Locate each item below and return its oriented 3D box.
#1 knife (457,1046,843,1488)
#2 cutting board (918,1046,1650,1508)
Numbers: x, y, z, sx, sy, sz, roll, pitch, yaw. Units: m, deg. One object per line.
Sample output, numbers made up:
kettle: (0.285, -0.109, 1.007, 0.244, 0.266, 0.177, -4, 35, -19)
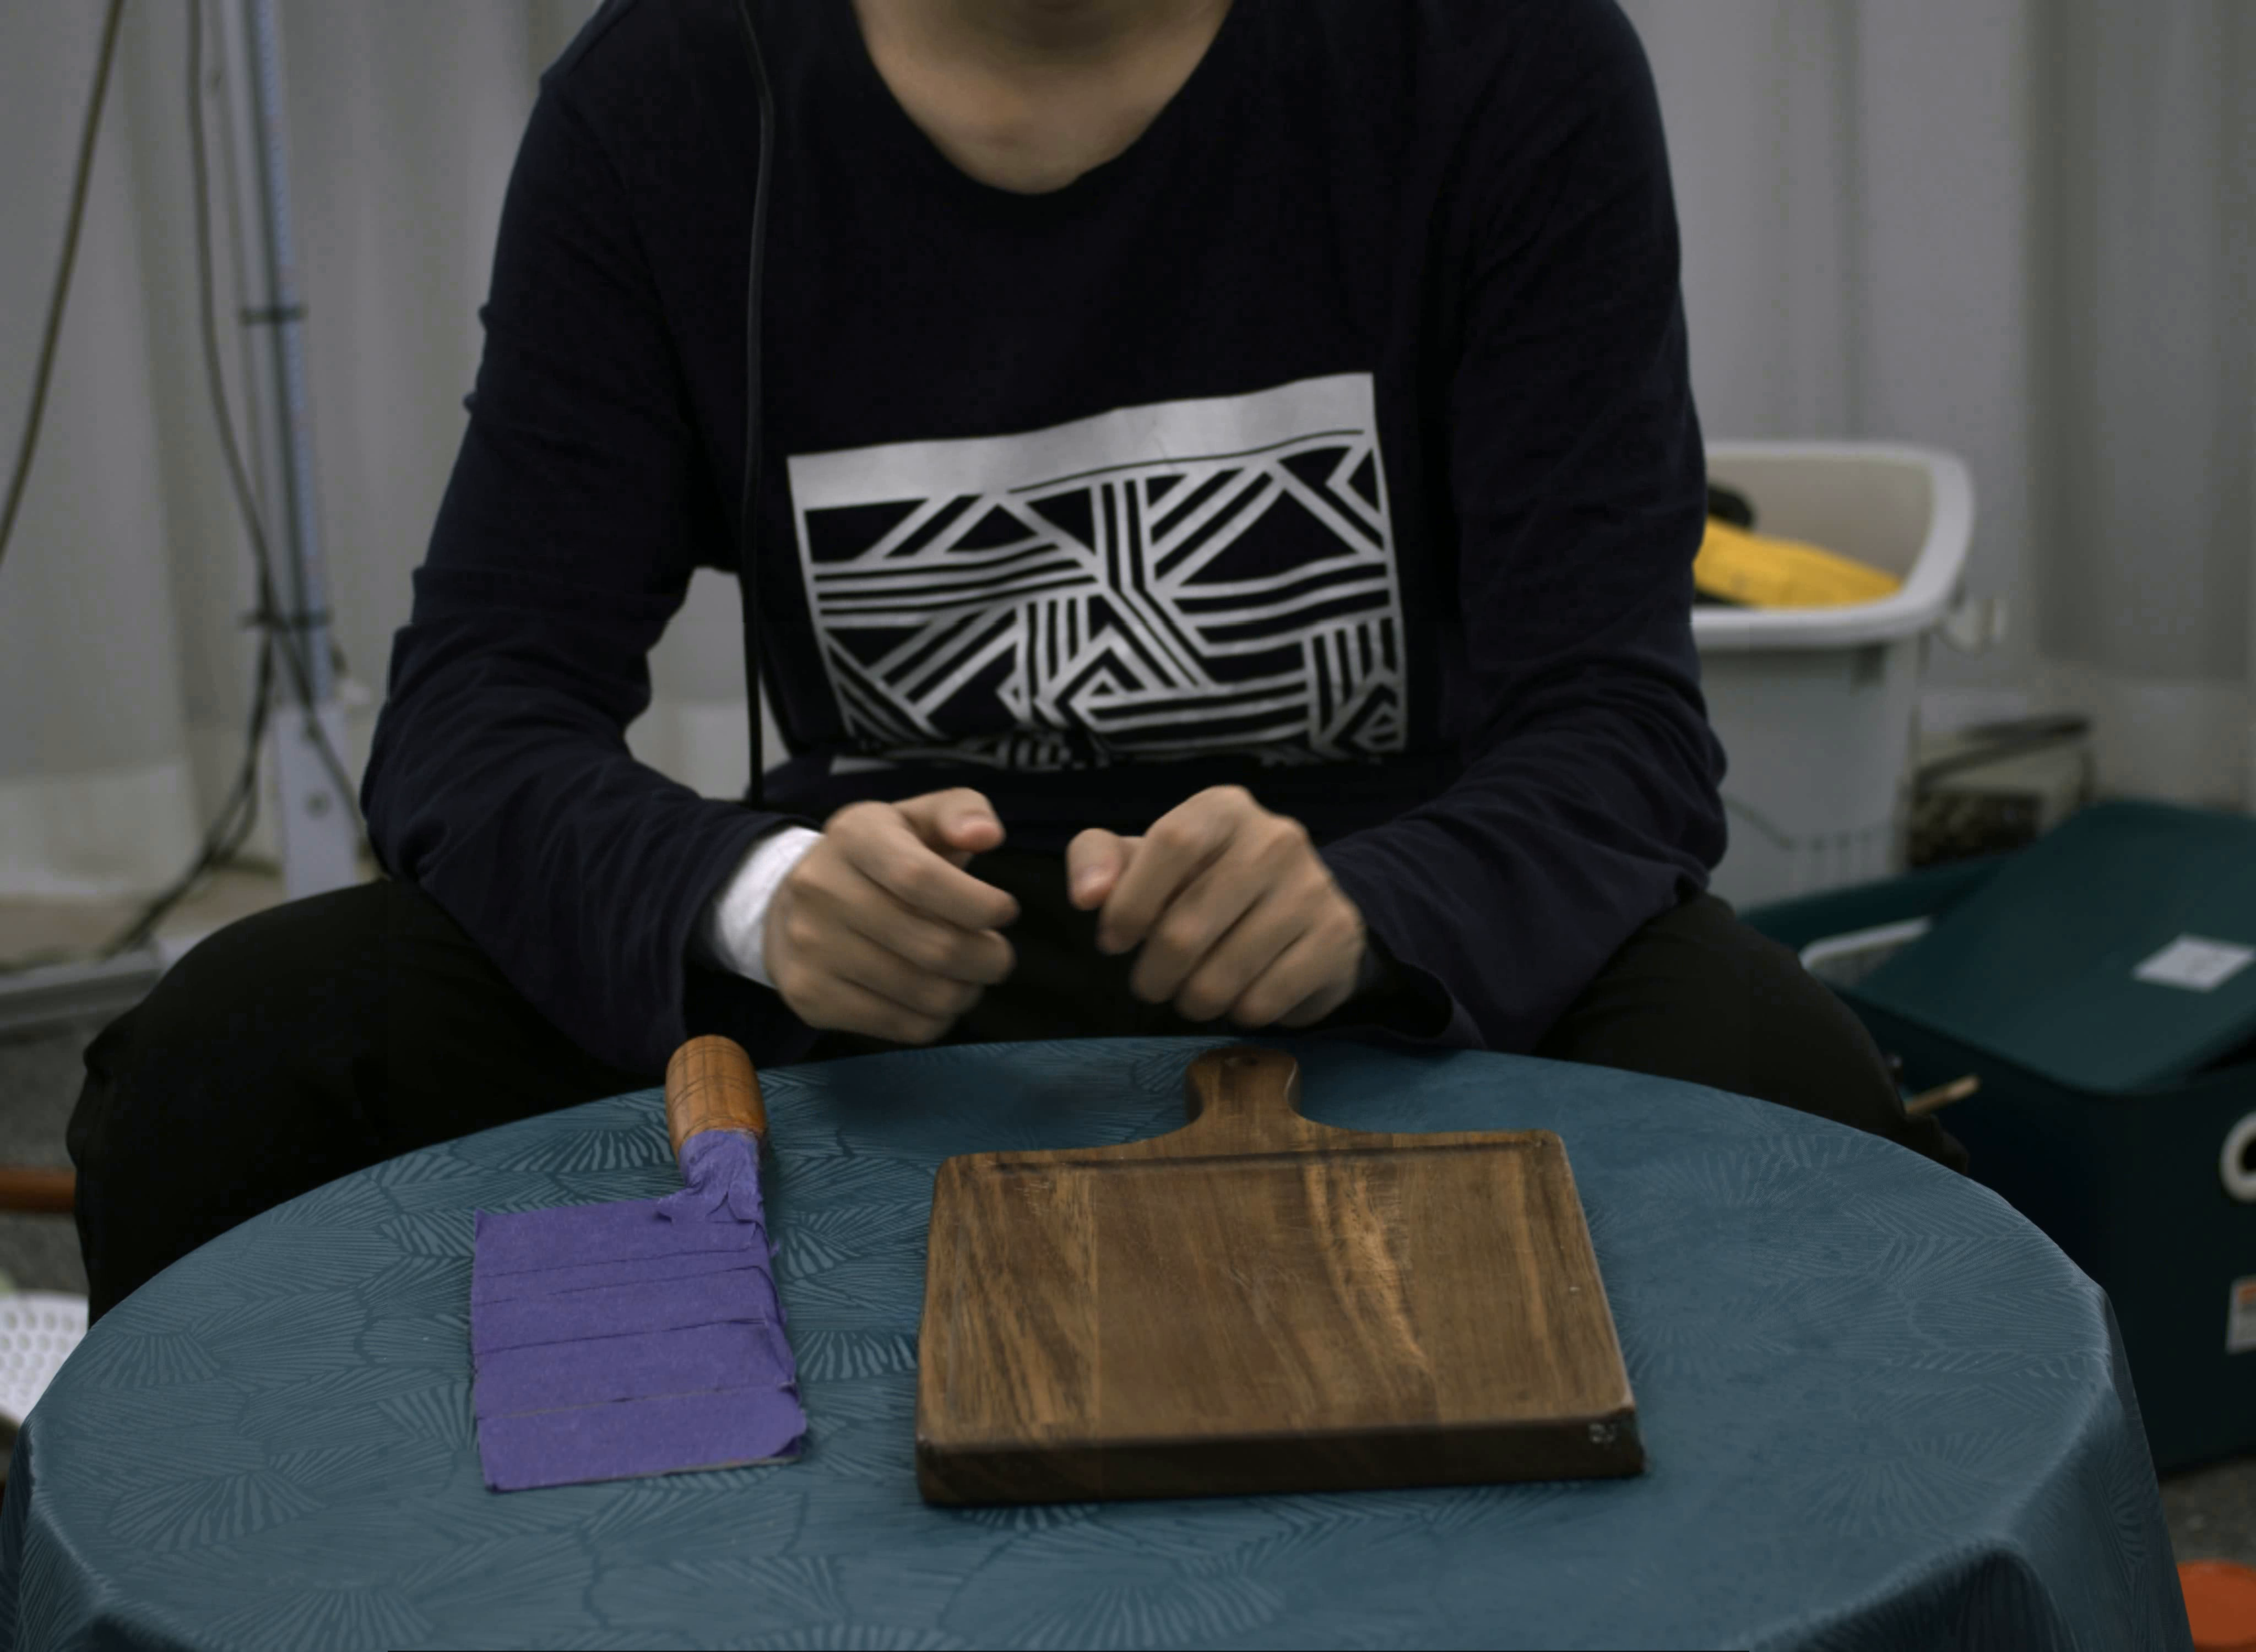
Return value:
knife: (-0.150, 0.128, 1.643, 0.103, 0.032, 0.317, -4, 15, -7)
cutting board: (0.039, 0.126, 1.629, 0.200, 0.023, 0.354, -3, 14, 0)
